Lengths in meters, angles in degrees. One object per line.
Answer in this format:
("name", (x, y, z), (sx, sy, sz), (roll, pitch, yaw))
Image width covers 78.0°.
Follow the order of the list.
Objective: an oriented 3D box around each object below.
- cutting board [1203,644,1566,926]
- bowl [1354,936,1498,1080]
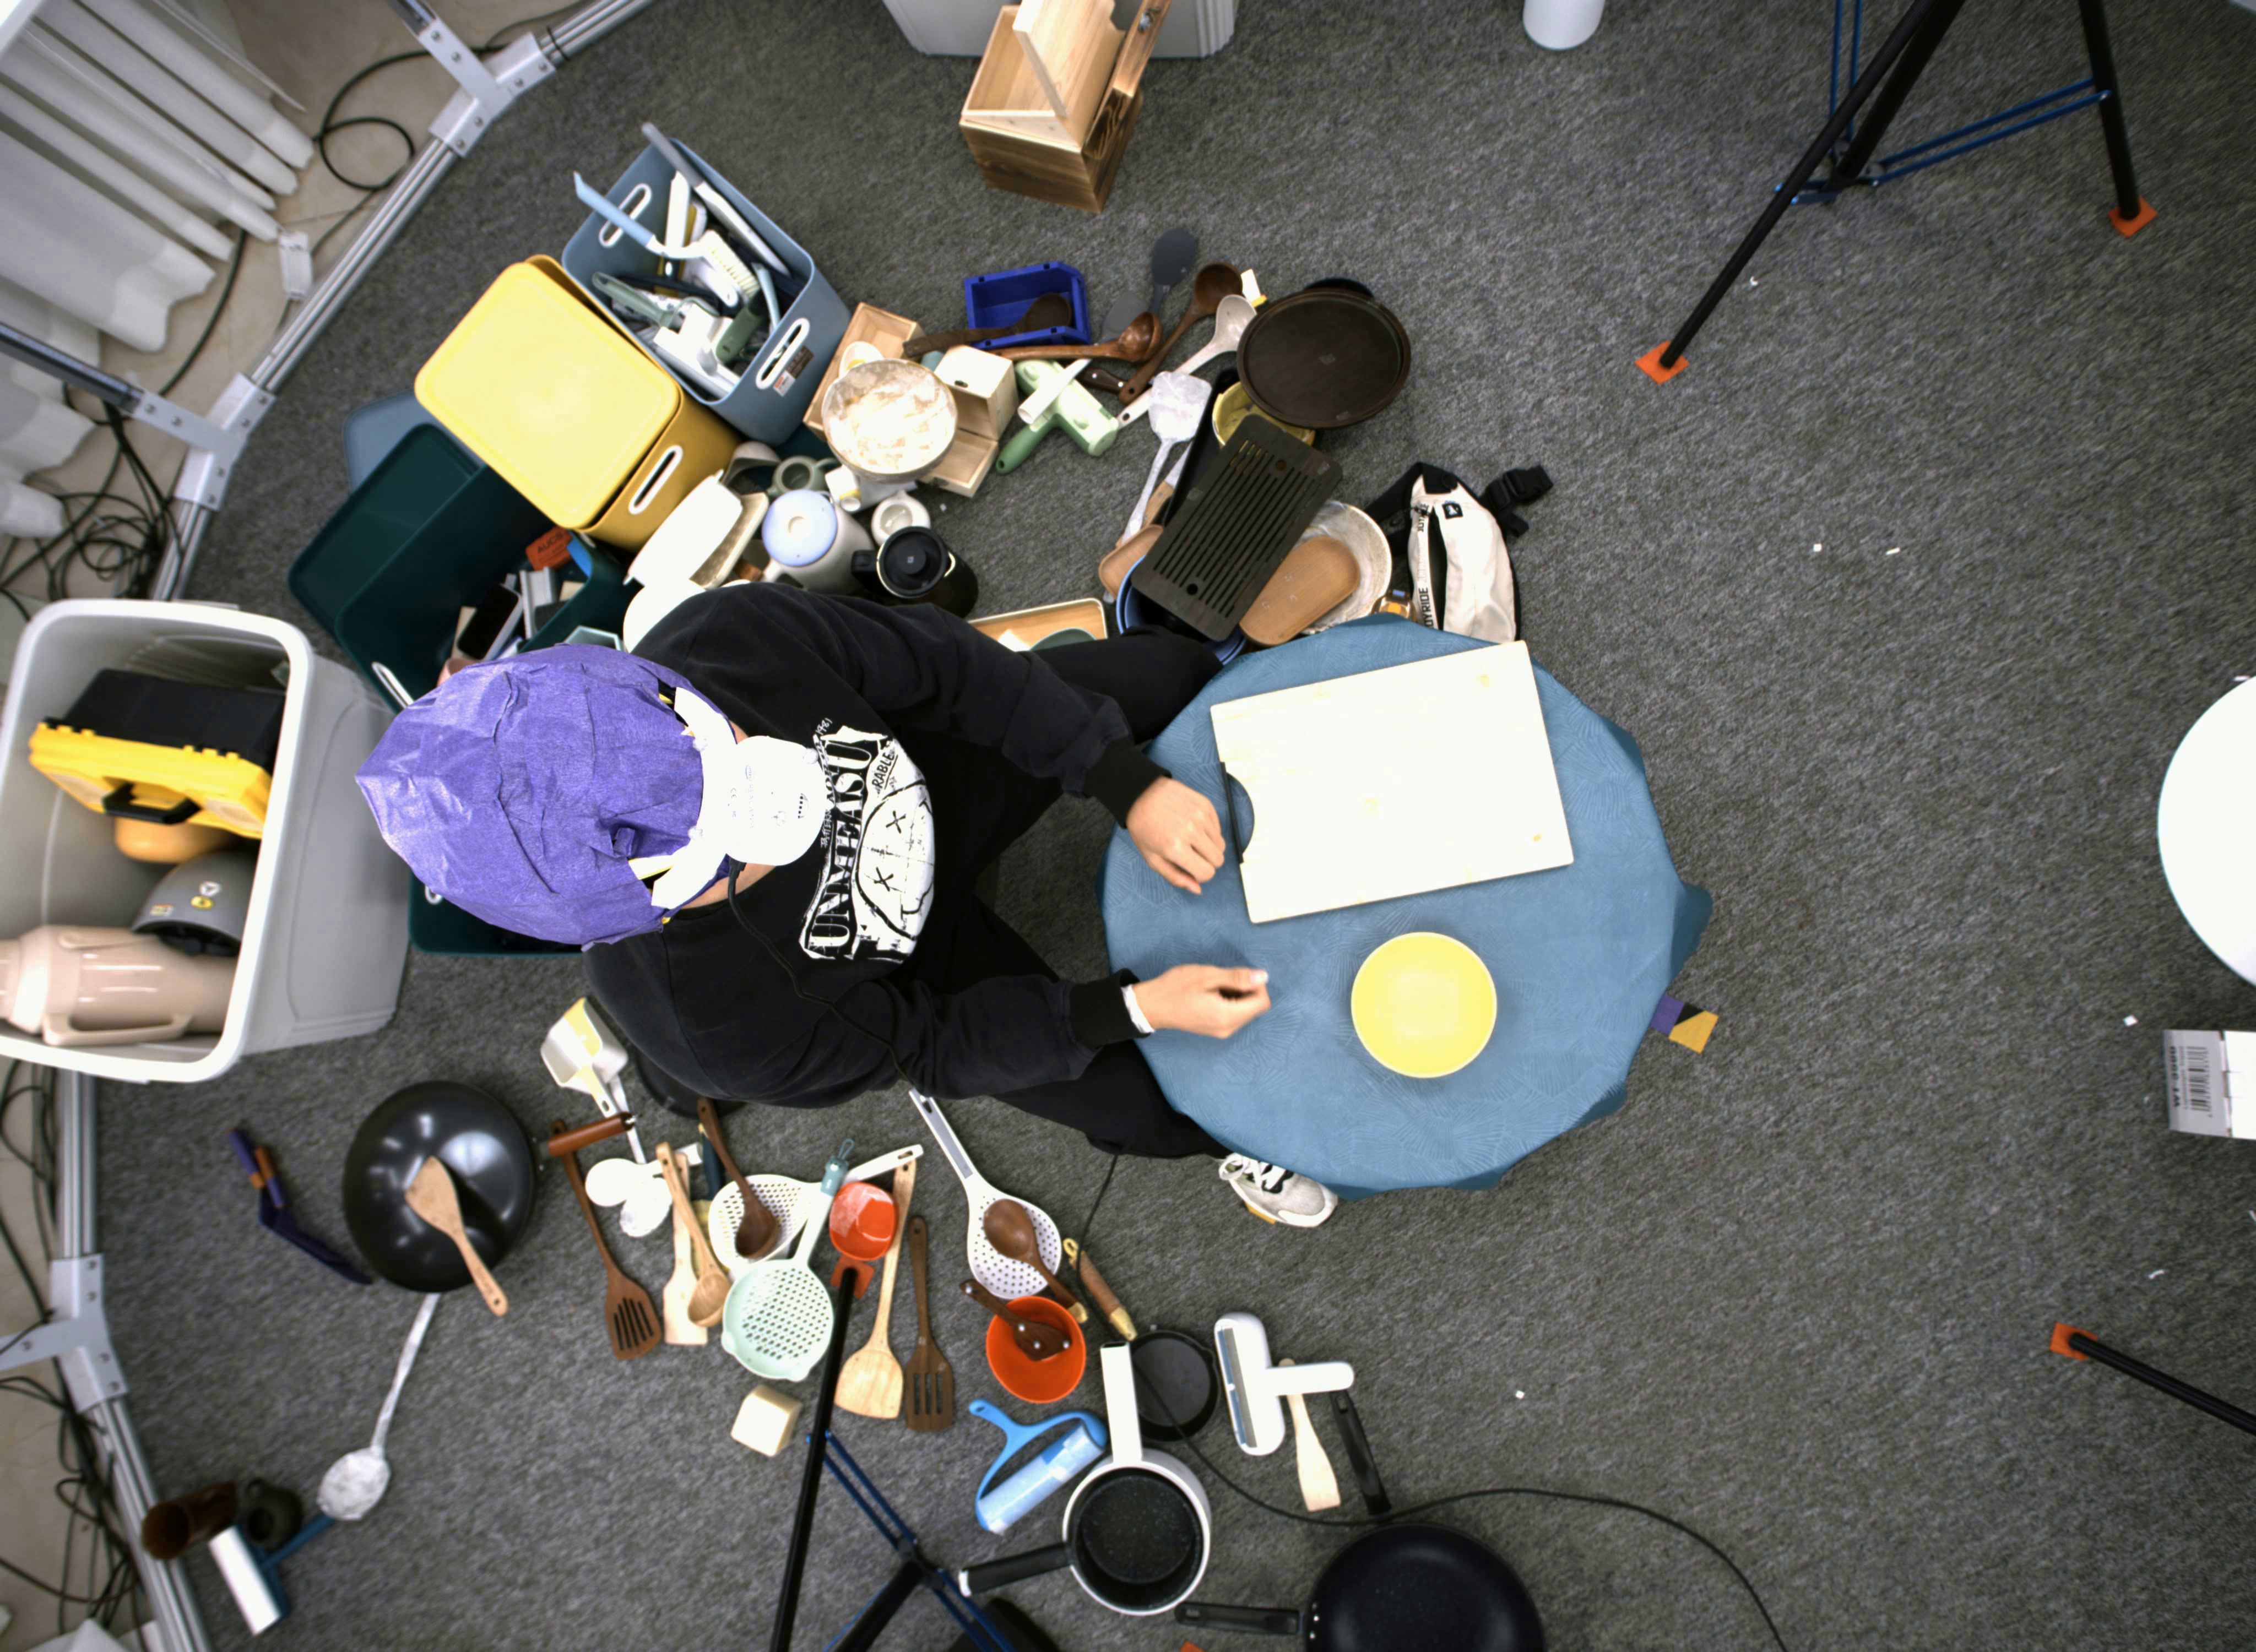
("cutting board", (0.272, -0.044, 1.464), (0.350, 0.023, 0.249), (-12, 84, 9))
("bowl", (0.306, 0.186, 1.422), (0.146, 0.060, 0.144), (-2, 83, 12))
